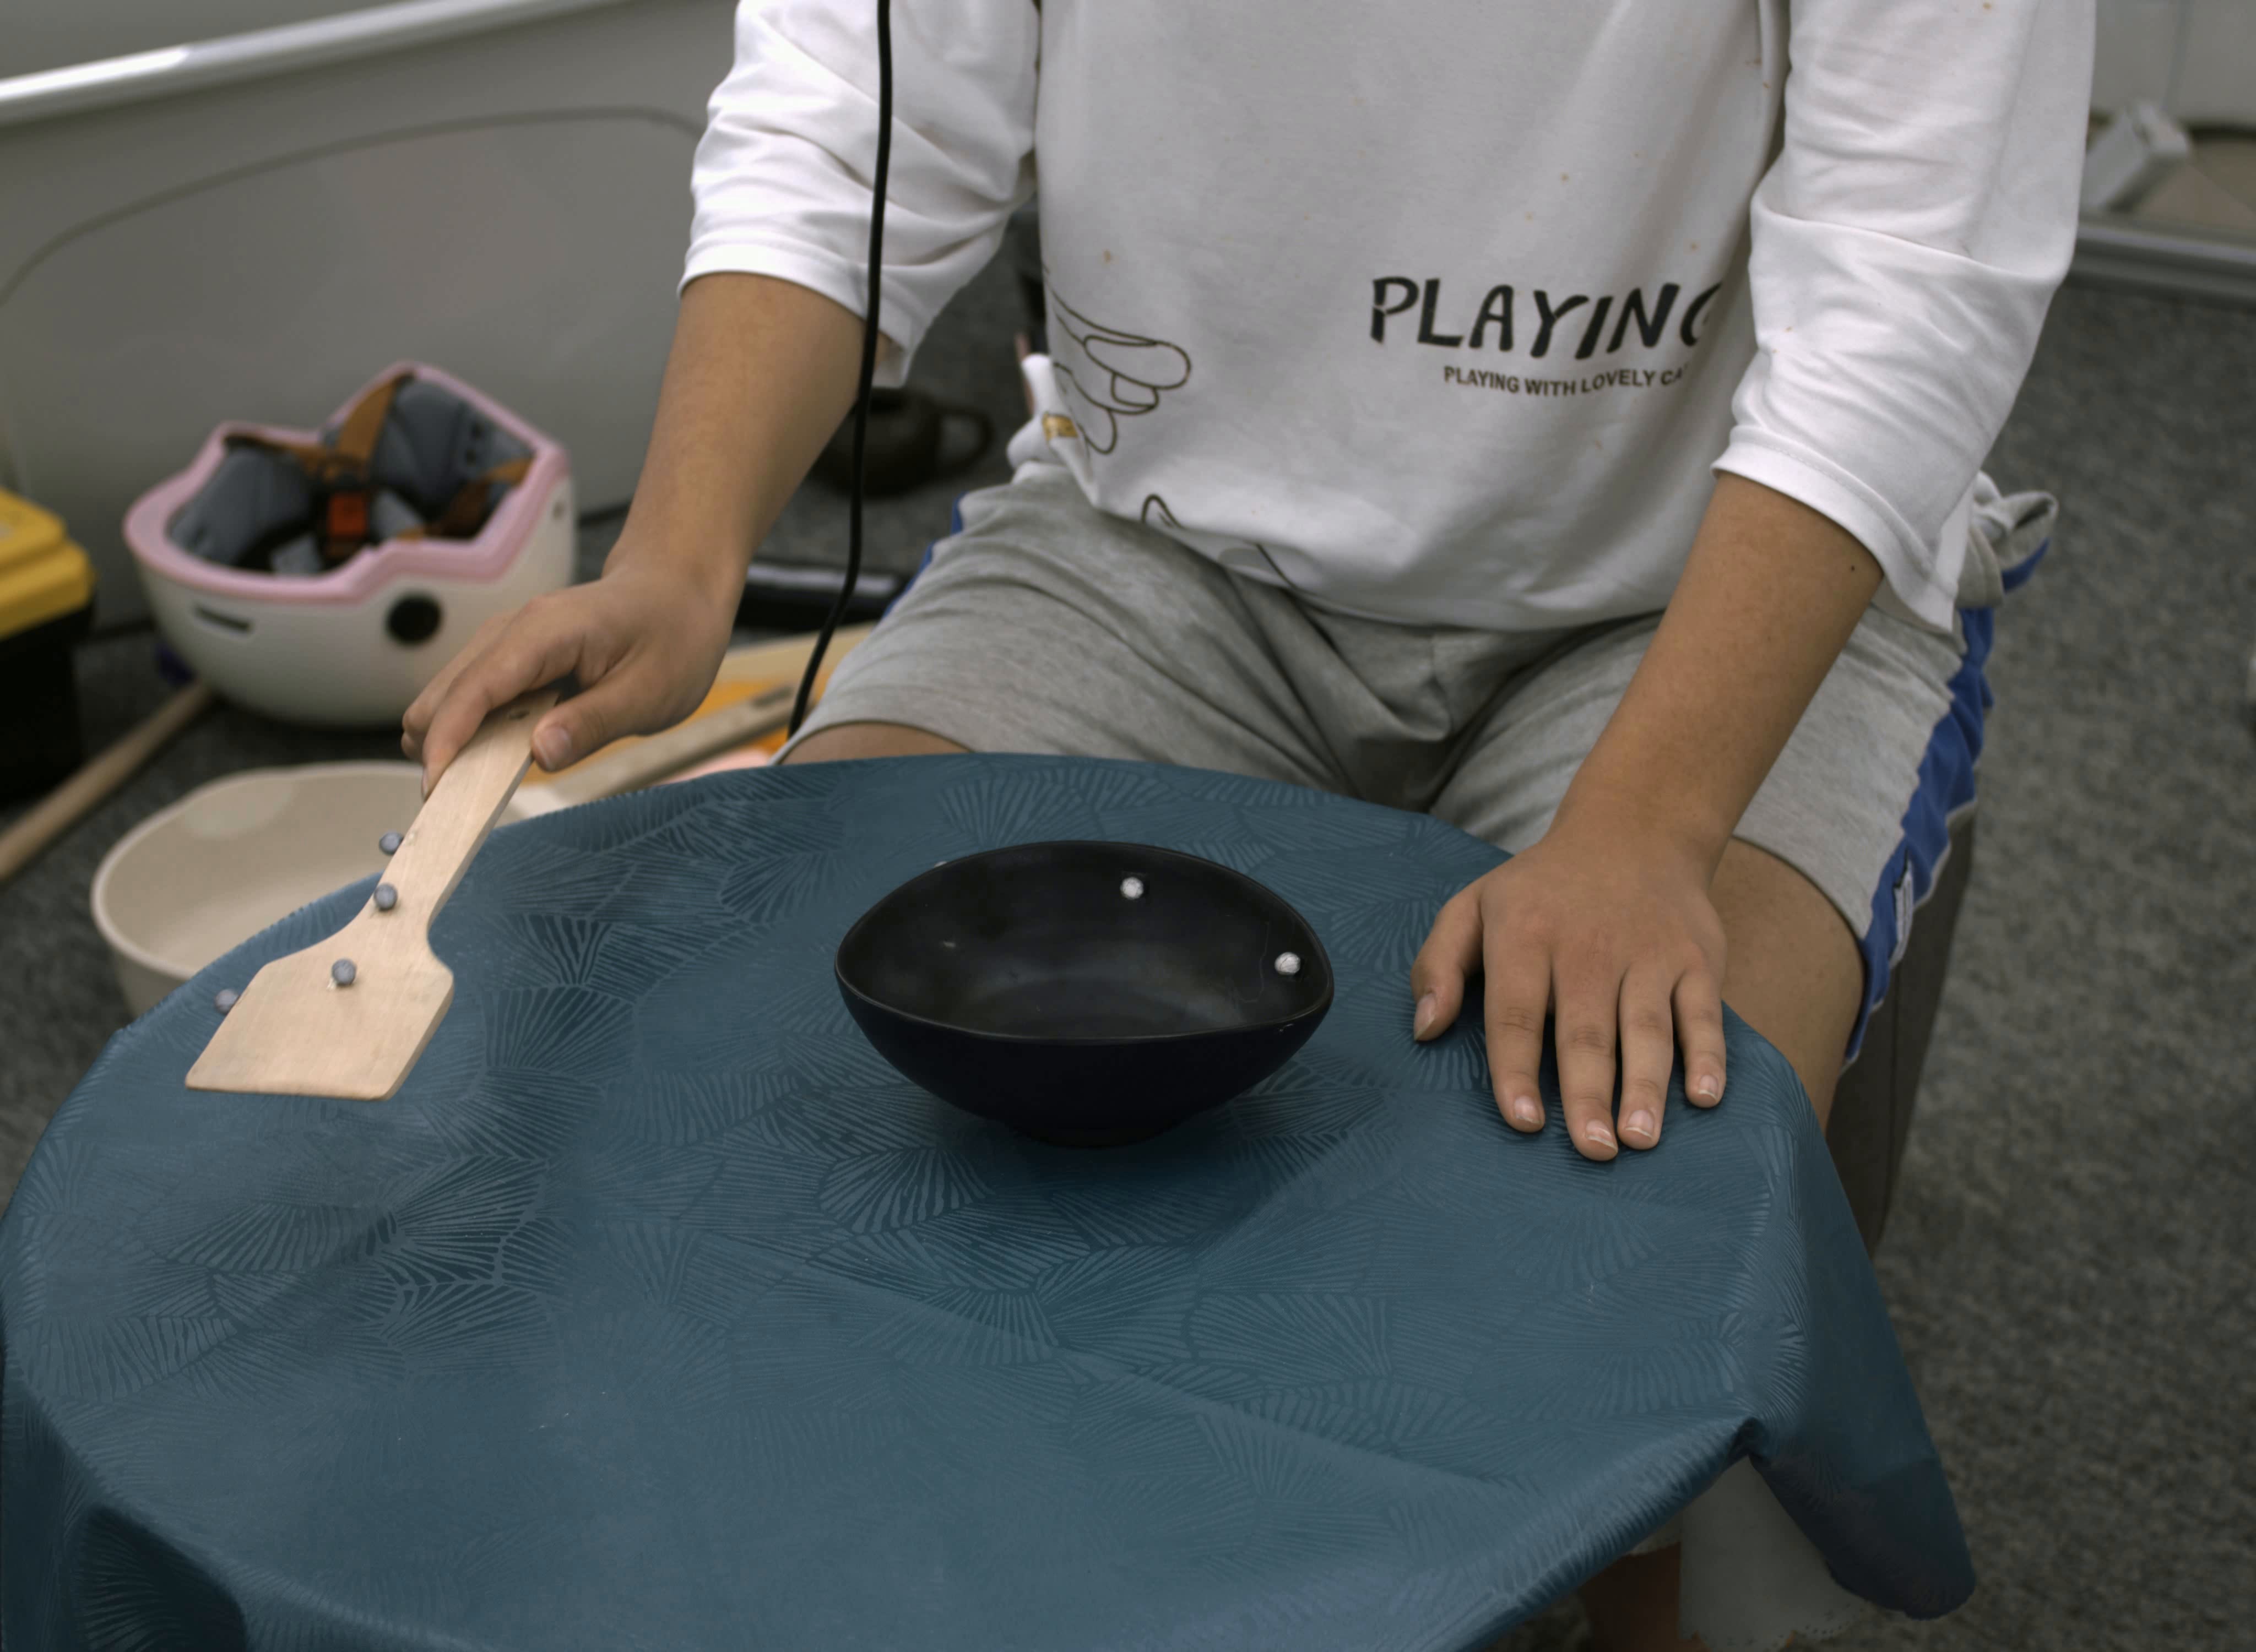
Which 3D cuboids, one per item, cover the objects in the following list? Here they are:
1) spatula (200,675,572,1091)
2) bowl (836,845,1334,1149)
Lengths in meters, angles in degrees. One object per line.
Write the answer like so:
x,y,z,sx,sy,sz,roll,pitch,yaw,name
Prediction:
-0.241,0.017,1.923,0.072,0.010,0.298,2,28,10,spatula
-0.014,0.065,1.907,0.169,0.066,0.139,3,27,6,bowl
